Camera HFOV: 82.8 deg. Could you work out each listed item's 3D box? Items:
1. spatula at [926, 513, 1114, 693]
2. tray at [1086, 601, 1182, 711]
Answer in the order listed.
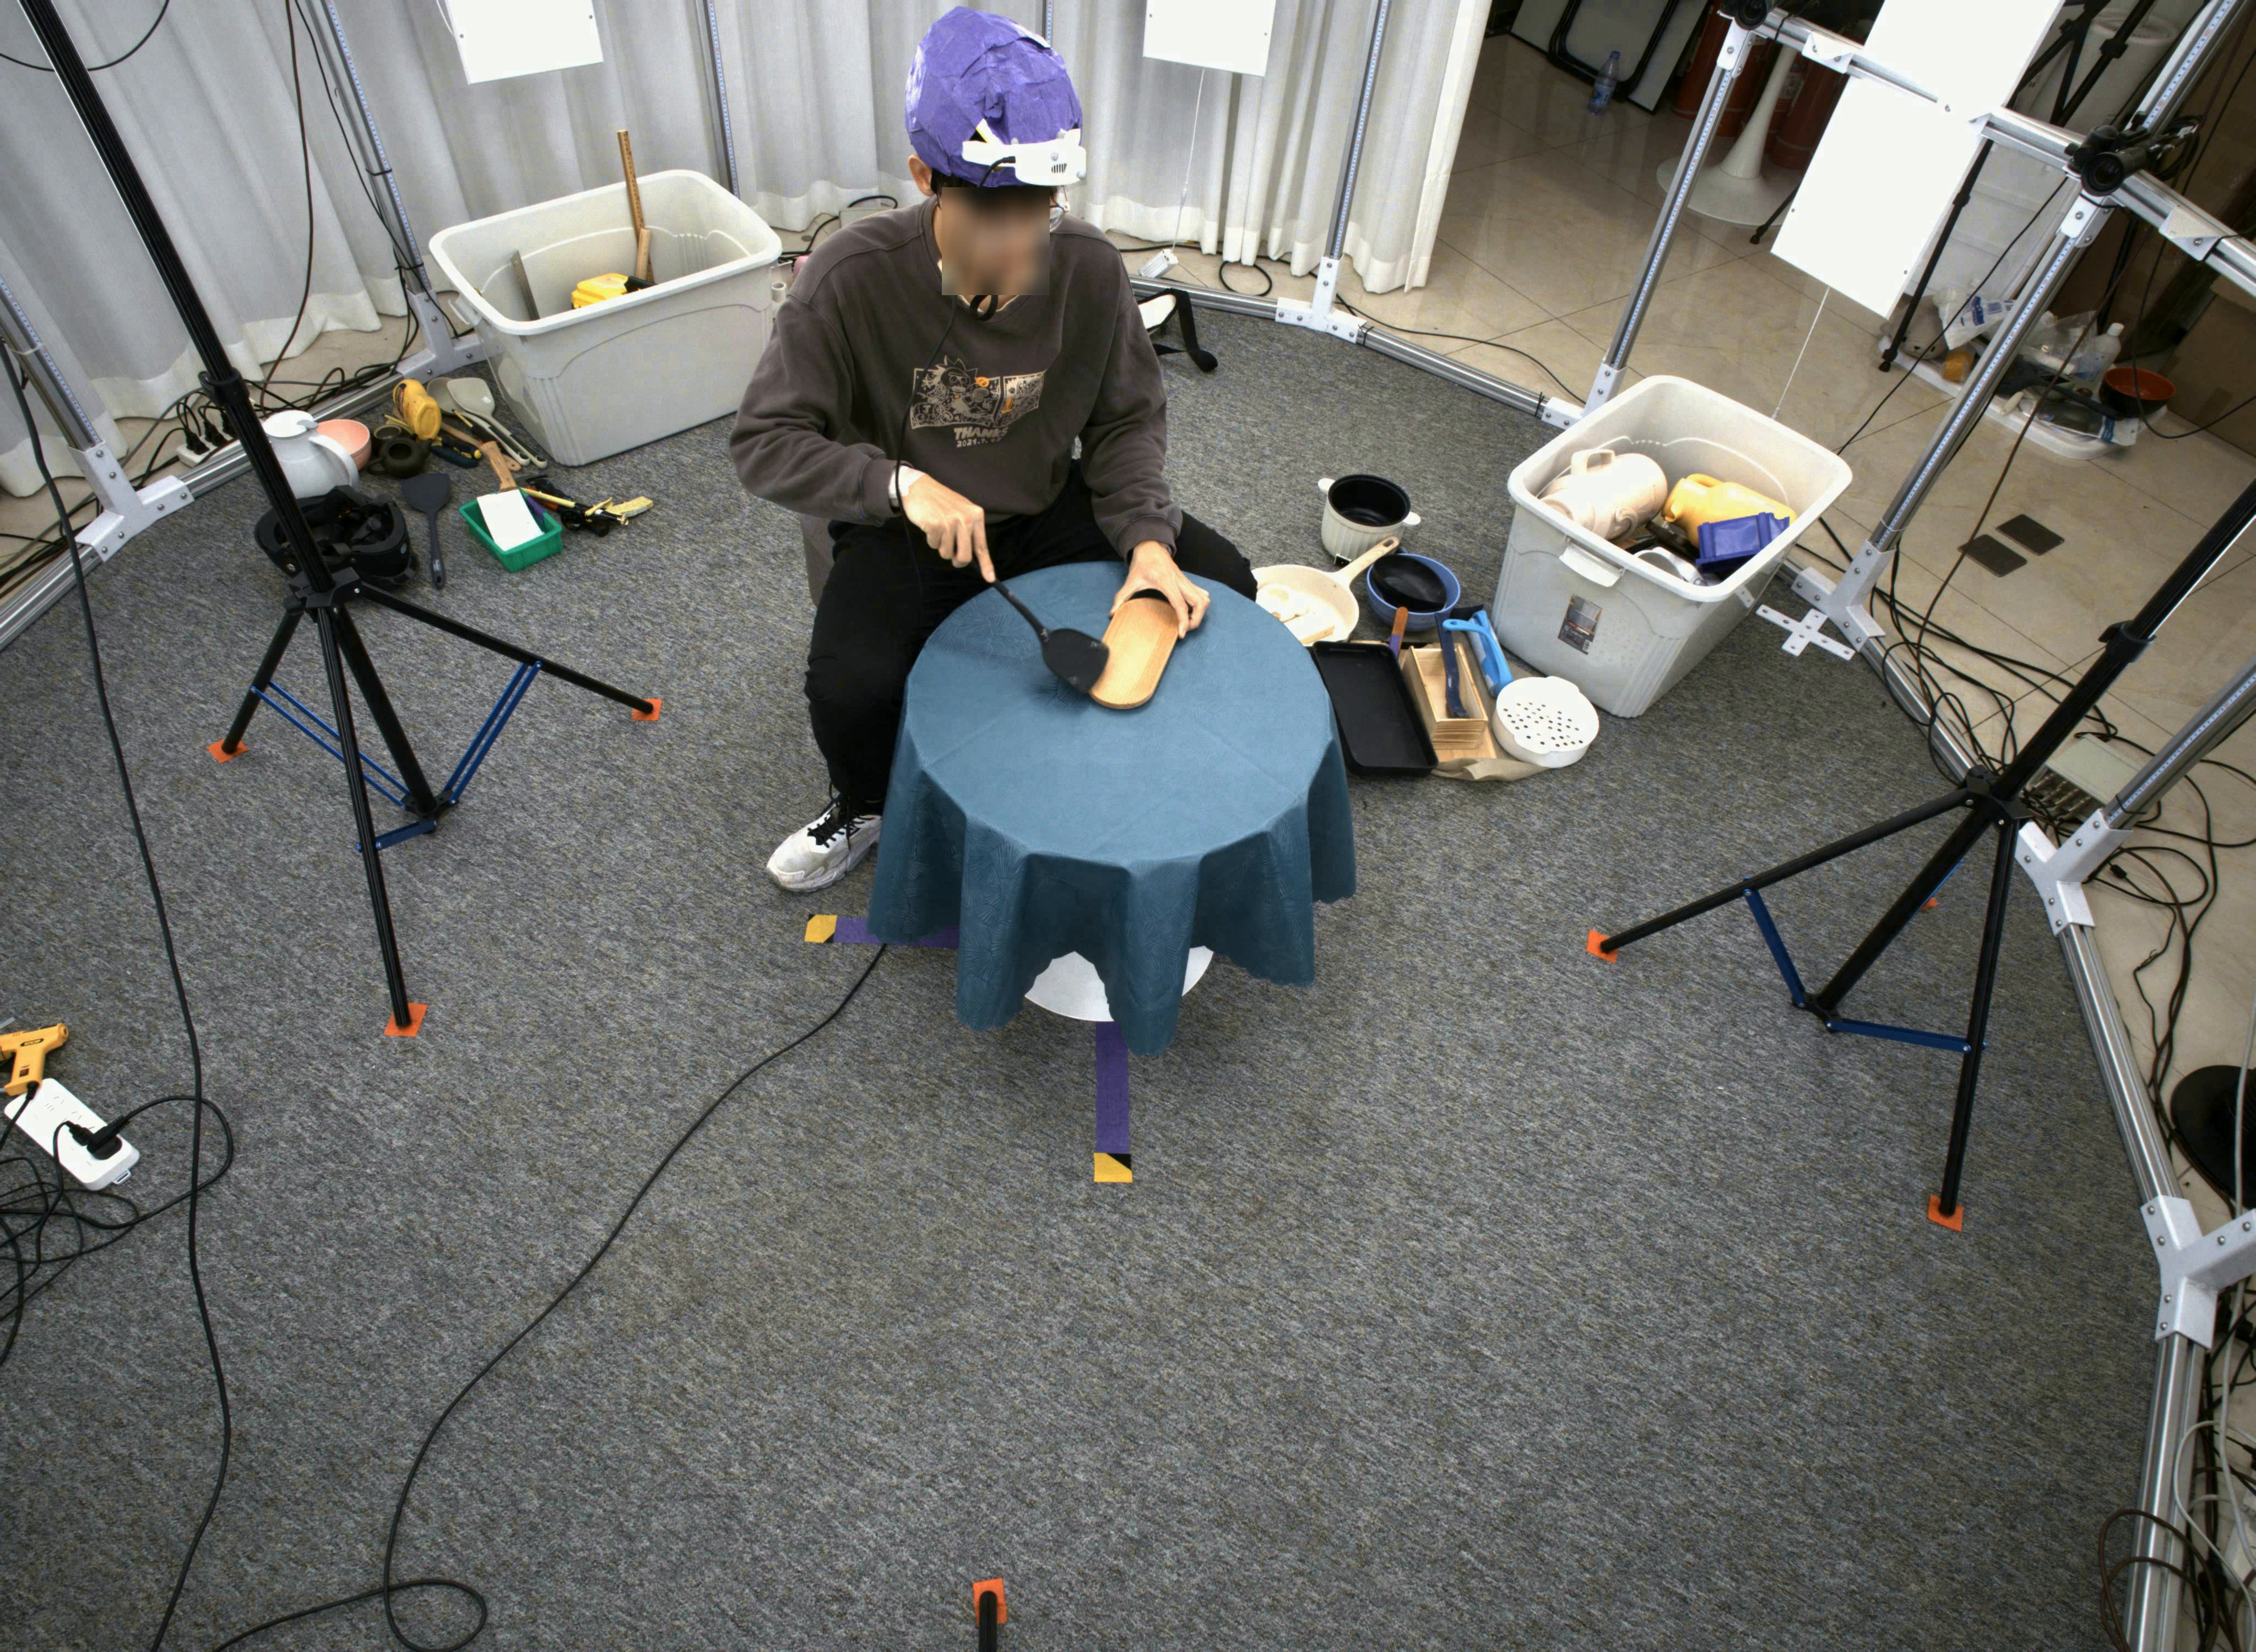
[{"bbox_3d":[-0.151,-0.315,1.773,0.321,0.040,0.101,44,50,-21],"label":"spatula"},{"bbox_3d":[0.010,-0.251,1.873,0.102,0.020,0.236,14,51,11],"label":"tray"}]
